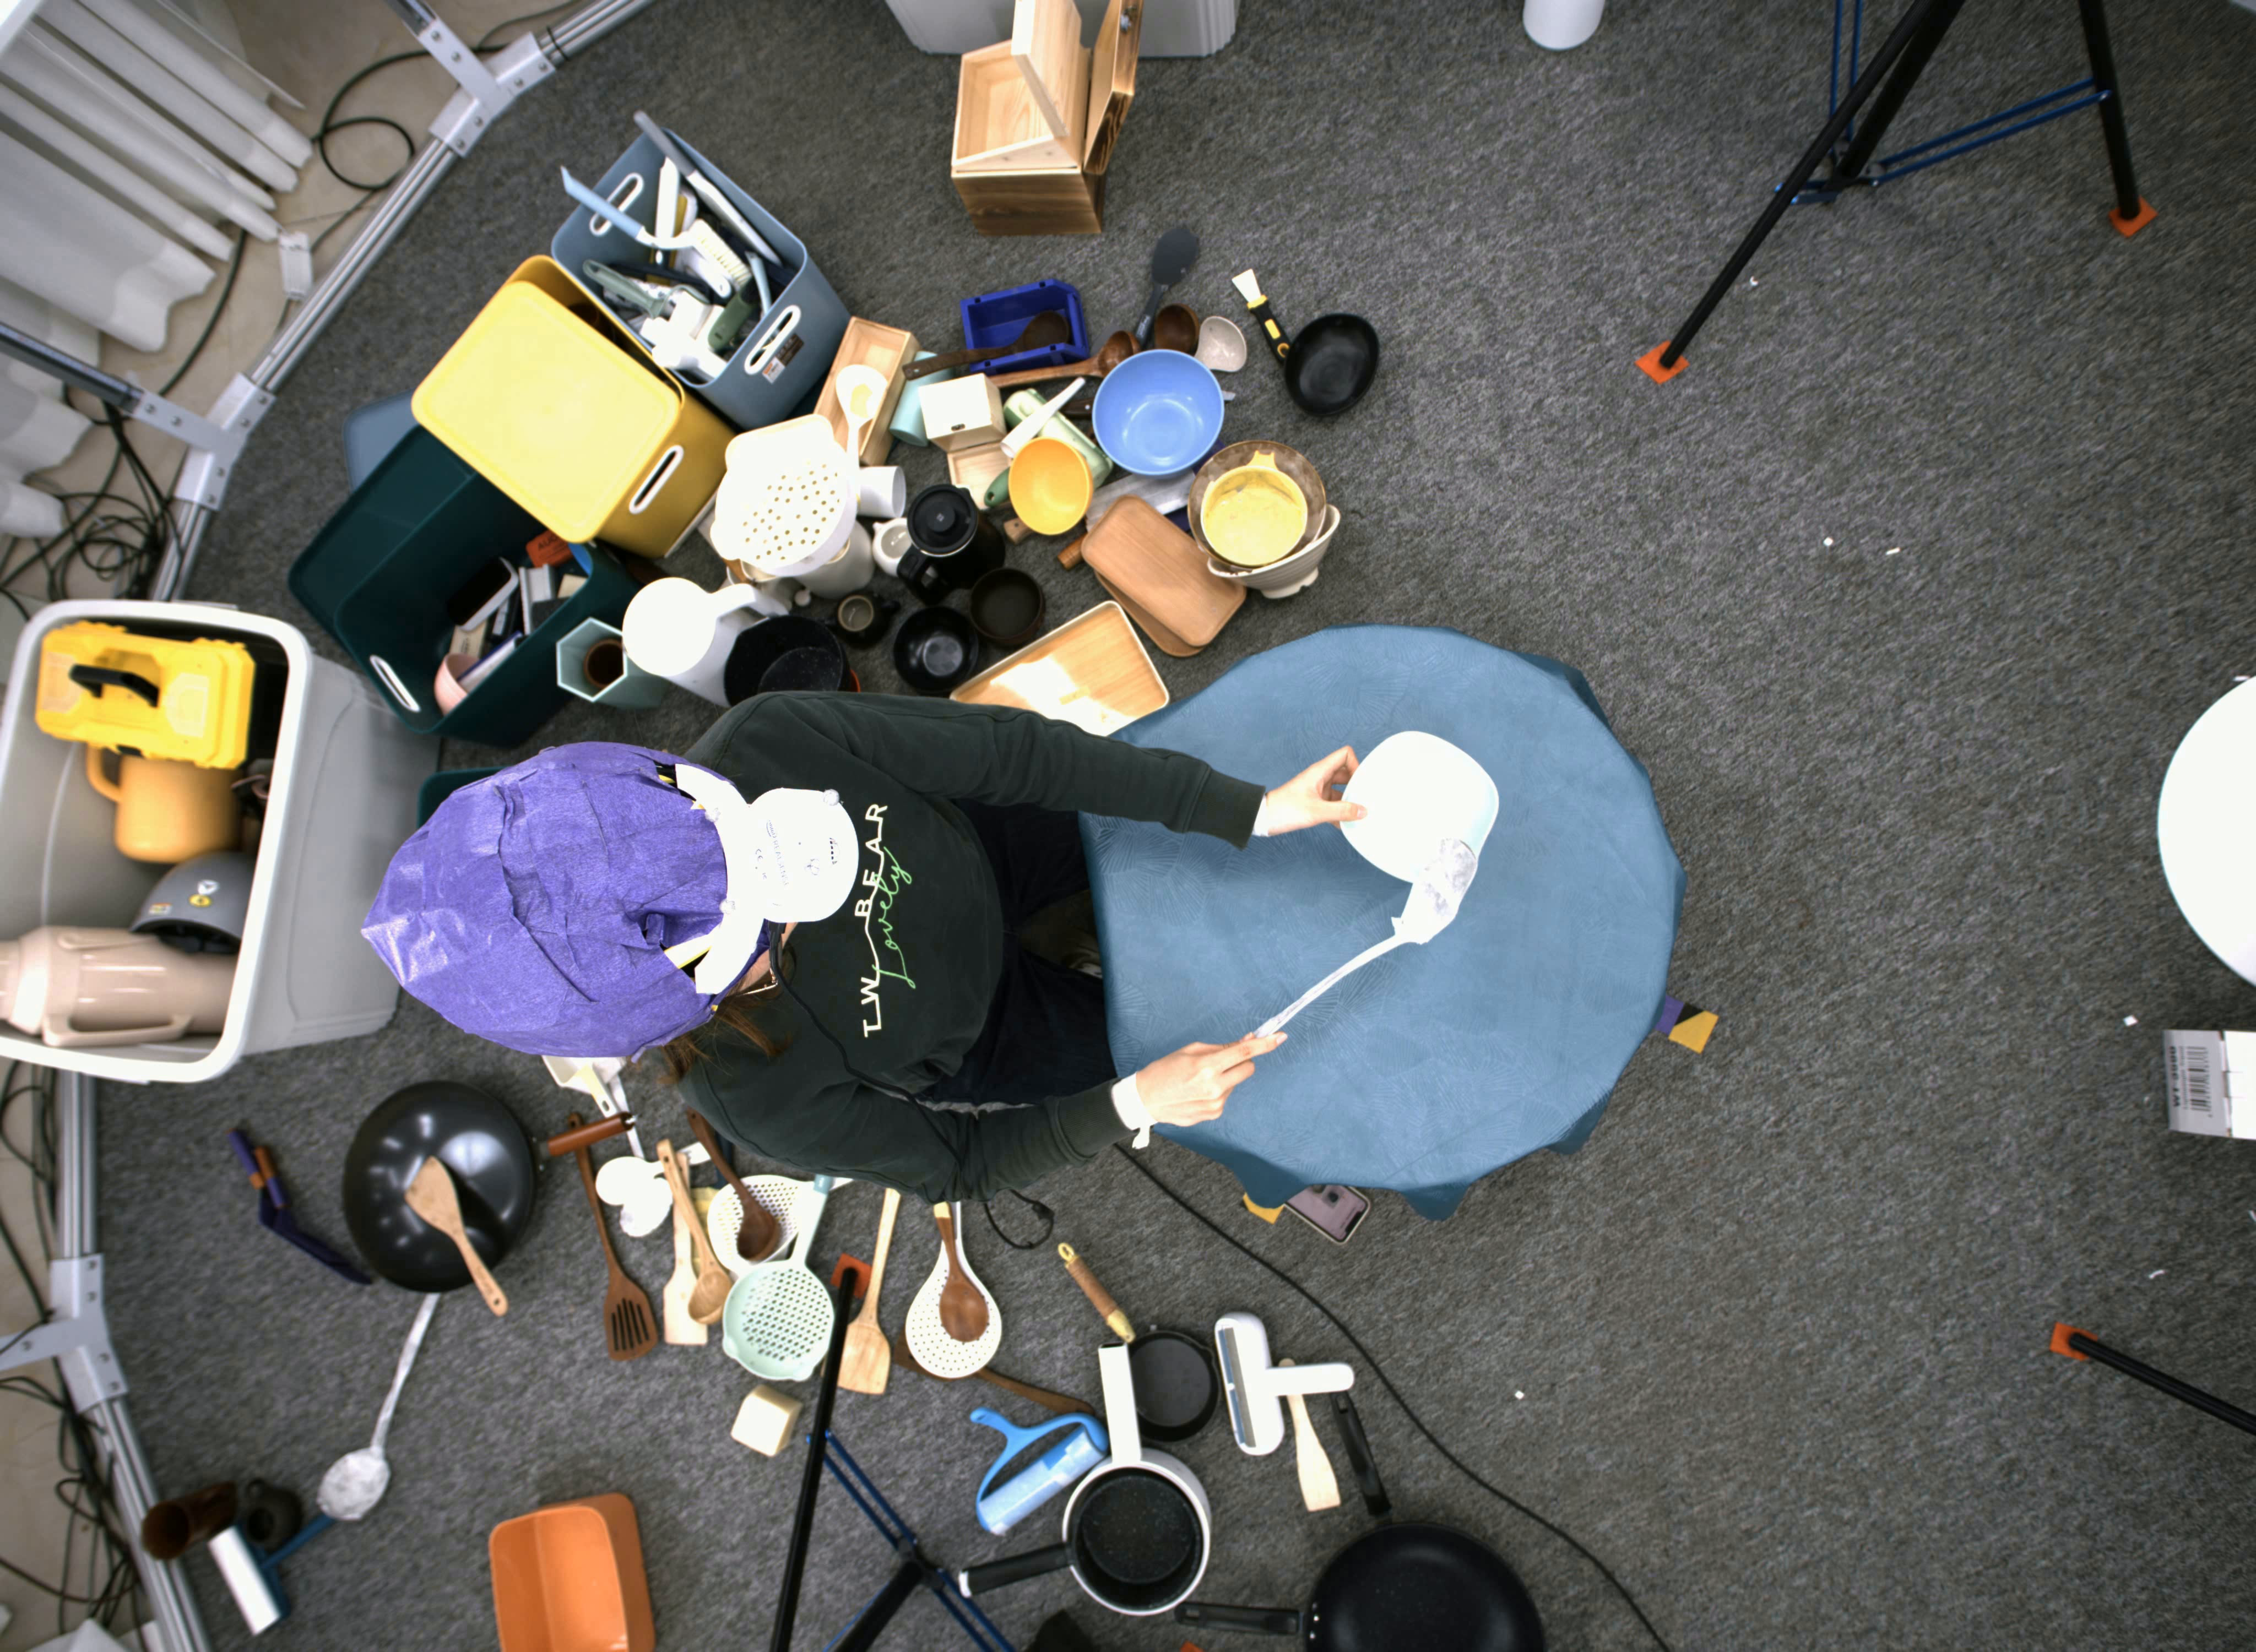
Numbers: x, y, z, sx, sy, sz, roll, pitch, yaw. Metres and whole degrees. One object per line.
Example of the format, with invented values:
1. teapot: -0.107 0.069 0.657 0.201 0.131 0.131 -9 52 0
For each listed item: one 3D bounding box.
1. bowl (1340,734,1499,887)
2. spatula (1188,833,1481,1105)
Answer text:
1. bowl: 0.283 -0.021 1.346 0.152 0.058 0.153 2 105 9
2. spatula: 0.185 0.142 1.289 0.368 0.097 0.045 -39 112 10
